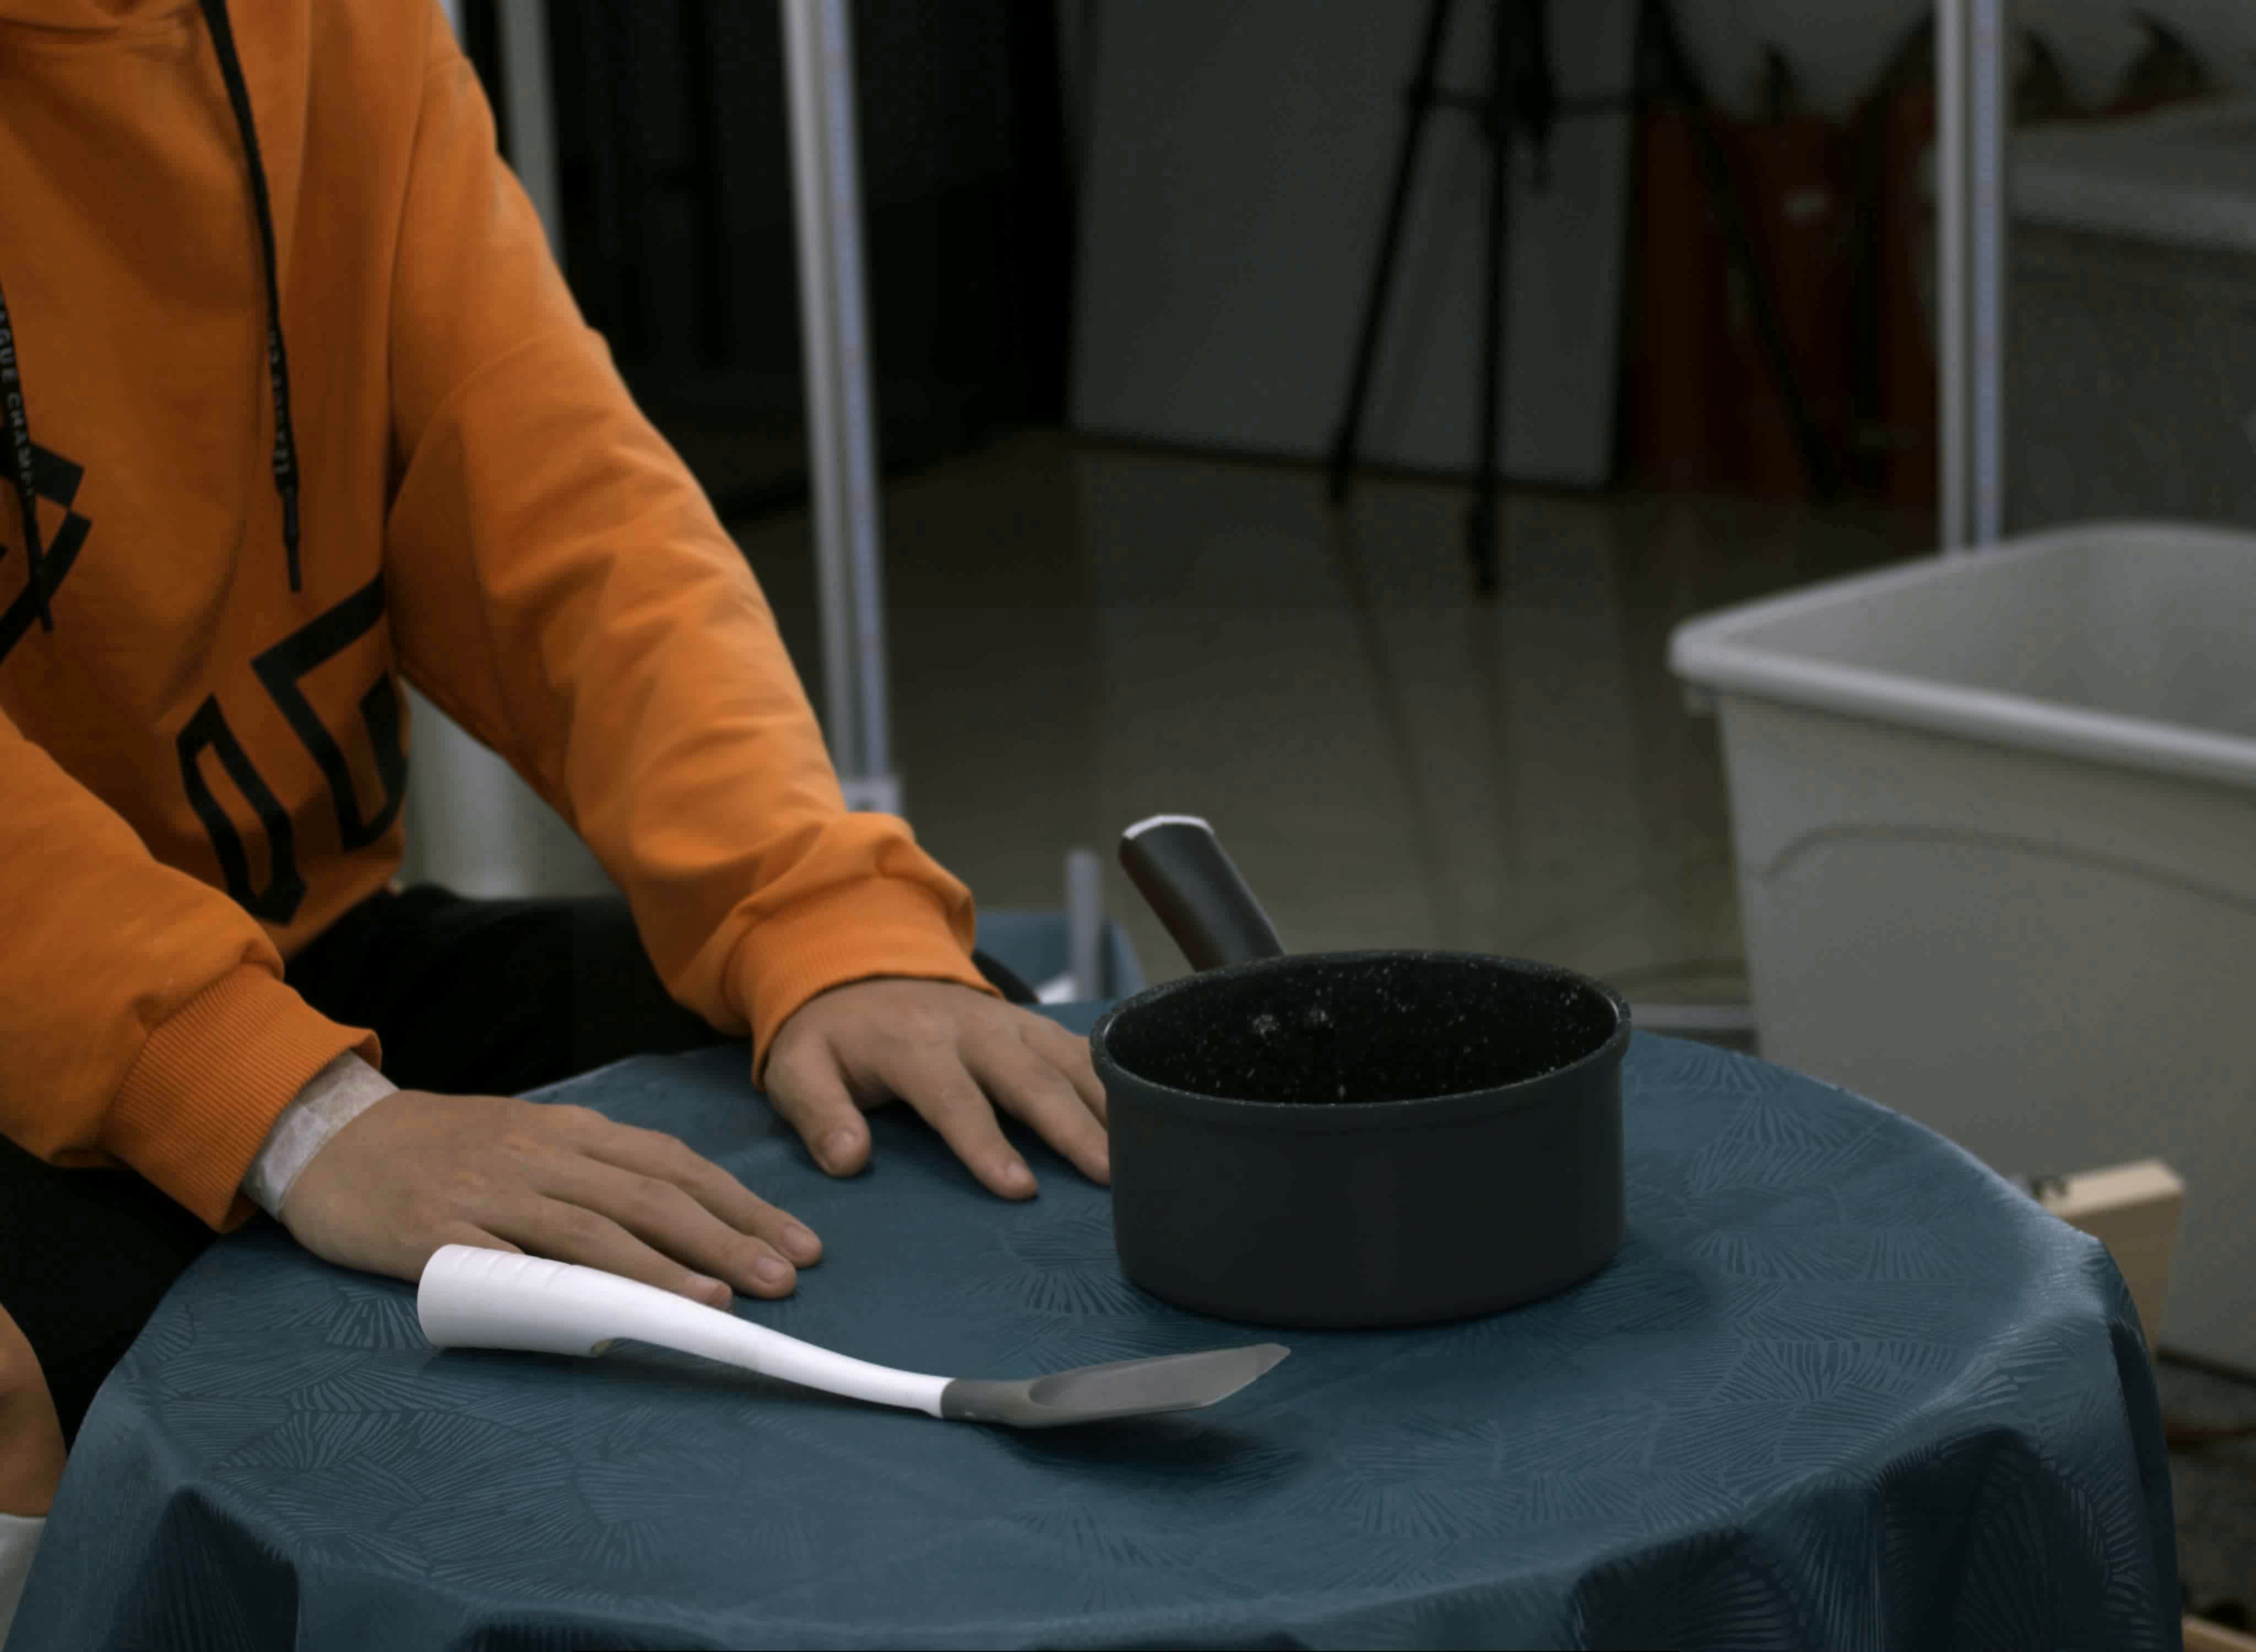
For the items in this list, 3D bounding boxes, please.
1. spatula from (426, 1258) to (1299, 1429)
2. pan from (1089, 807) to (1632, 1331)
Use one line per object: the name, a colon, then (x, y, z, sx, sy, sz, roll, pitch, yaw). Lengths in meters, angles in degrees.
spatula: (-0.082, 0.155, 1.590, 0.289, 0.032, 0.058, 3, 11, 30)
pan: (0.058, 0.075, 1.761, 0.169, 0.087, 0.331, -6, 15, -10)
